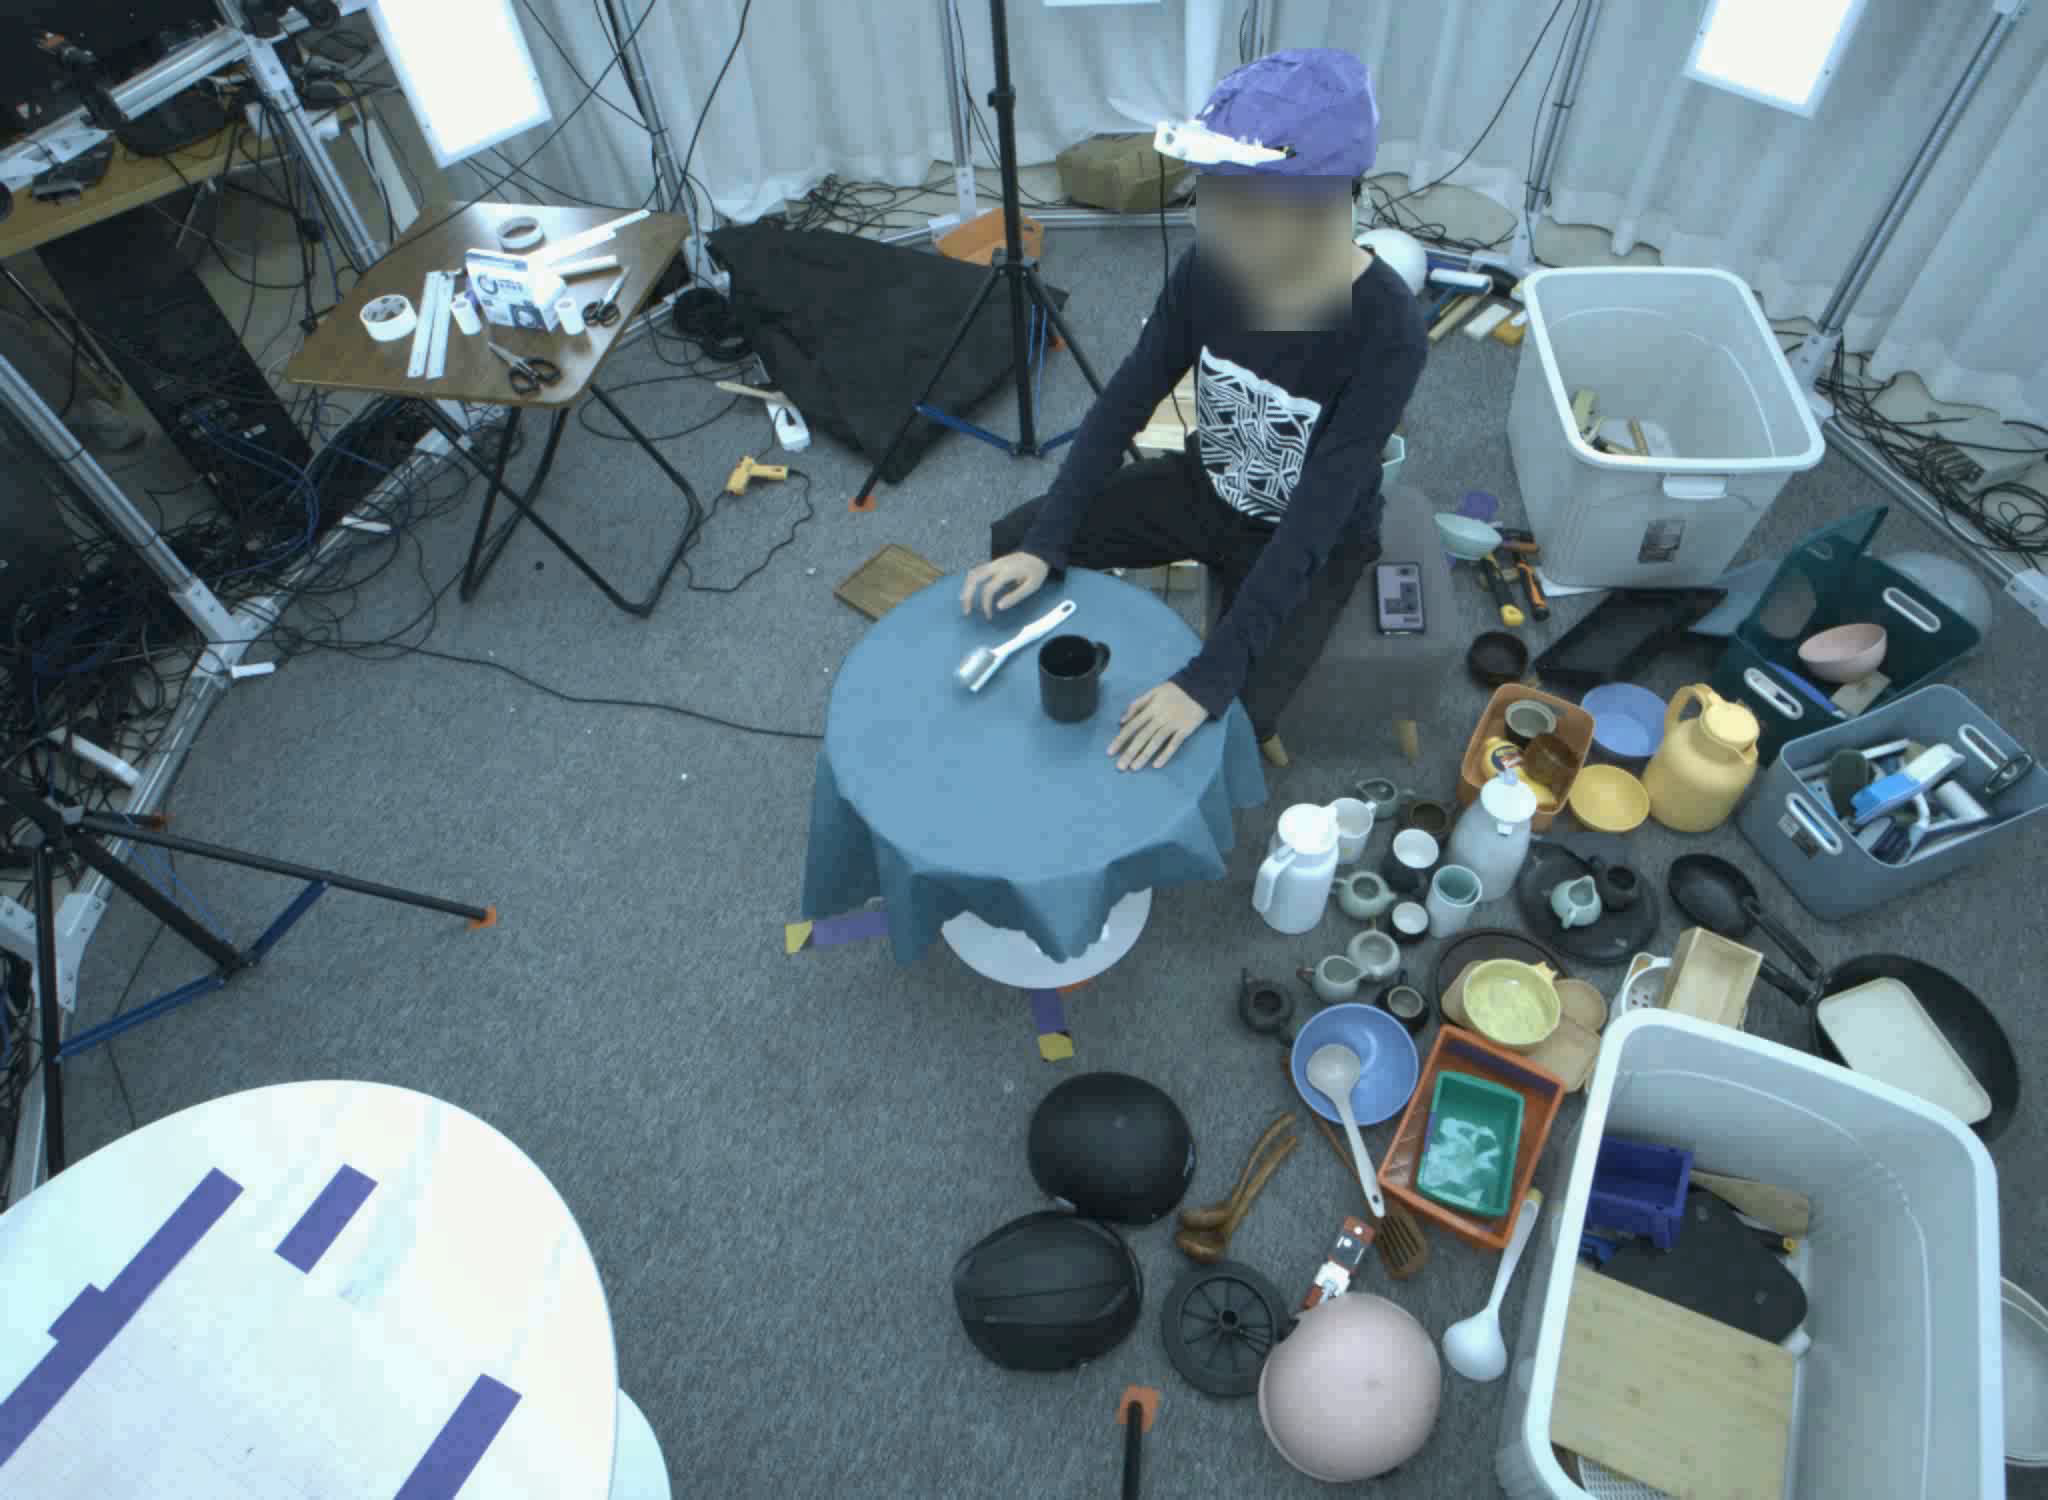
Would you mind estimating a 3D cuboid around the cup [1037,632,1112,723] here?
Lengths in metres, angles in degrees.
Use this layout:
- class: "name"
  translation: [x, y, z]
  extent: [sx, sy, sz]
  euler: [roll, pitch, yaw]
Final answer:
- class: "cup"
  translation: [0.079, -0.114, 1.794]
  extent: [0.124, 0.106, 0.087]
  euler: [-34, 57, -22]

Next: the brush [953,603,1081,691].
- class: "brush"
  translation: [-0.008, -0.171, 1.873]
  extent: [0.245, 0.051, 0.033]
  euler: [-37, 56, -22]
